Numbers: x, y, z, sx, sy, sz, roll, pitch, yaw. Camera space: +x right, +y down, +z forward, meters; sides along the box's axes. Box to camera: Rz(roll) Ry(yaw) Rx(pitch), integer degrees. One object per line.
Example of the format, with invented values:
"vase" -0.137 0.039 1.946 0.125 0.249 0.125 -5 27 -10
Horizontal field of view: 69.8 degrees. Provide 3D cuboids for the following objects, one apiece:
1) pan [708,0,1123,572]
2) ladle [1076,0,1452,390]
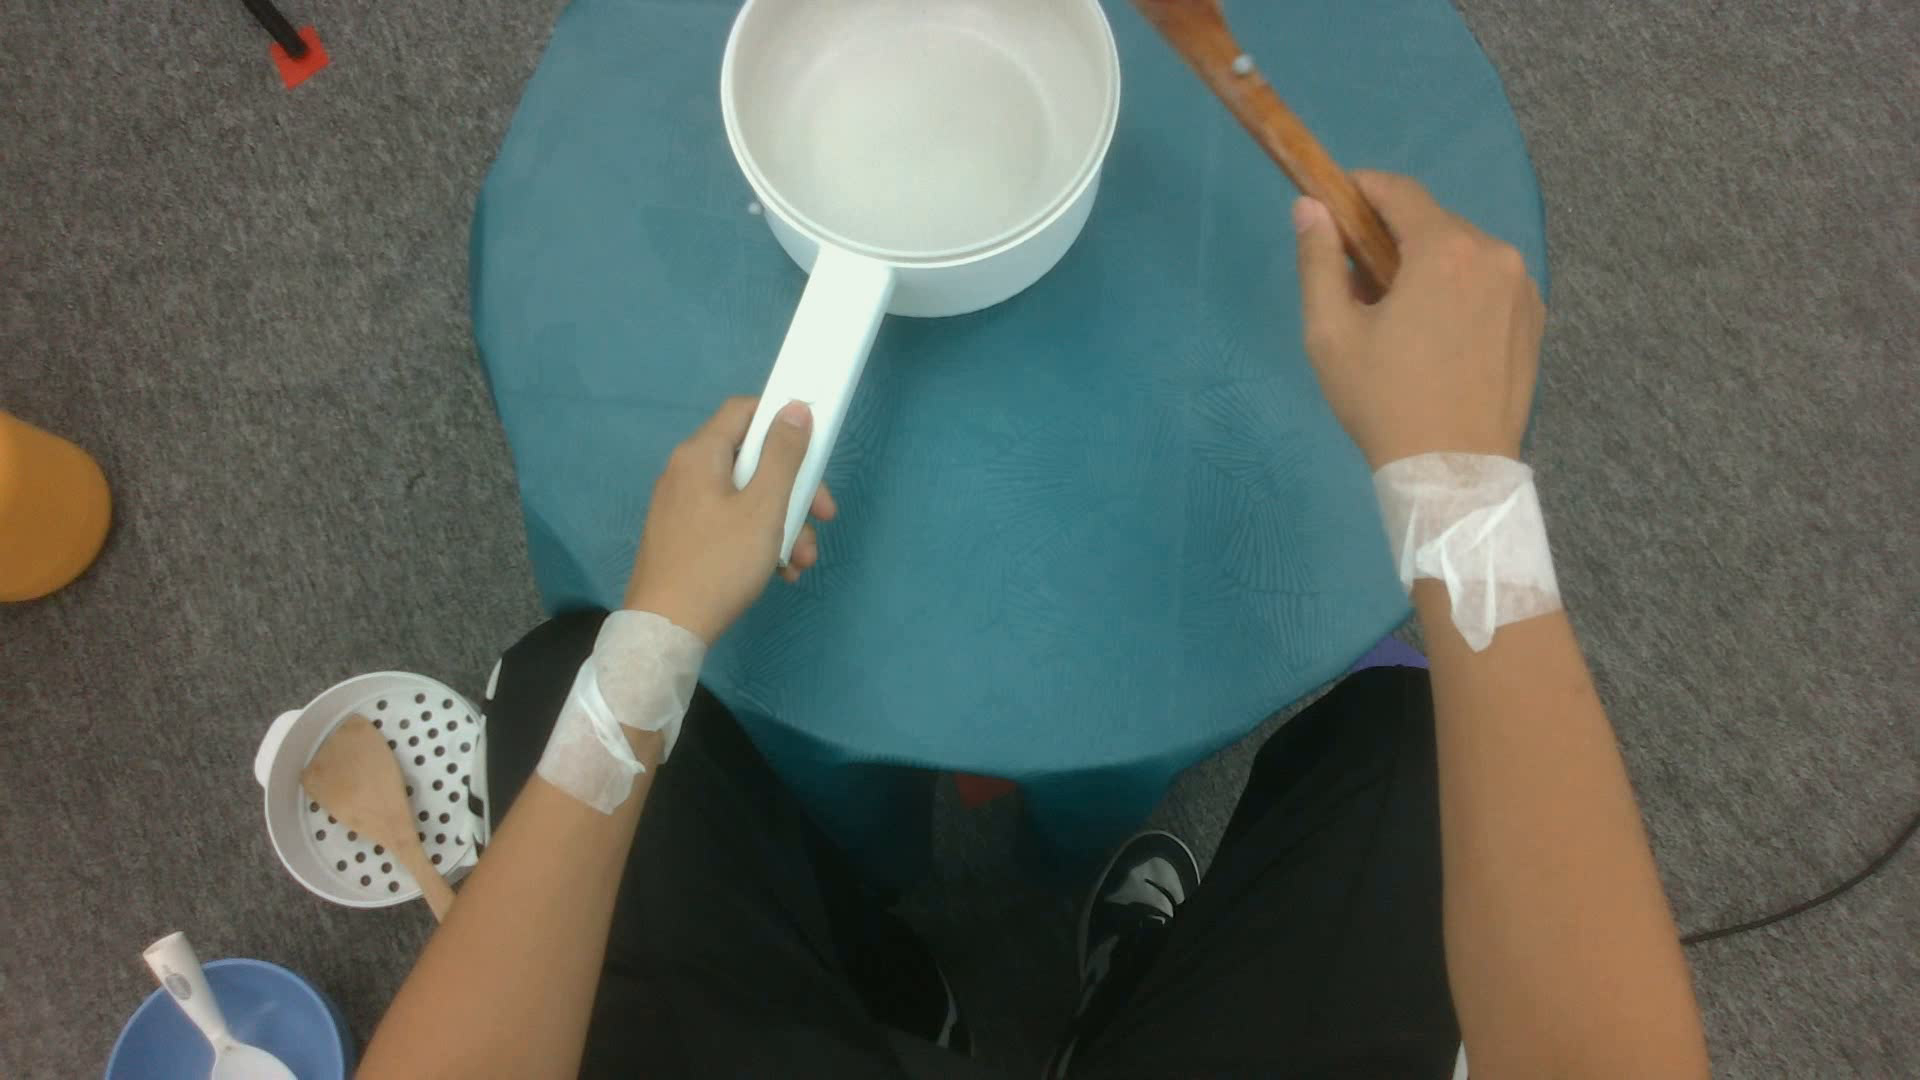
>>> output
"pan" -0.041 -0.146 0.739 0.201 0.102 0.355 19 78 6
"ladle" 0.132 -0.190 0.590 0.082 0.076 0.274 -29 70 -9
